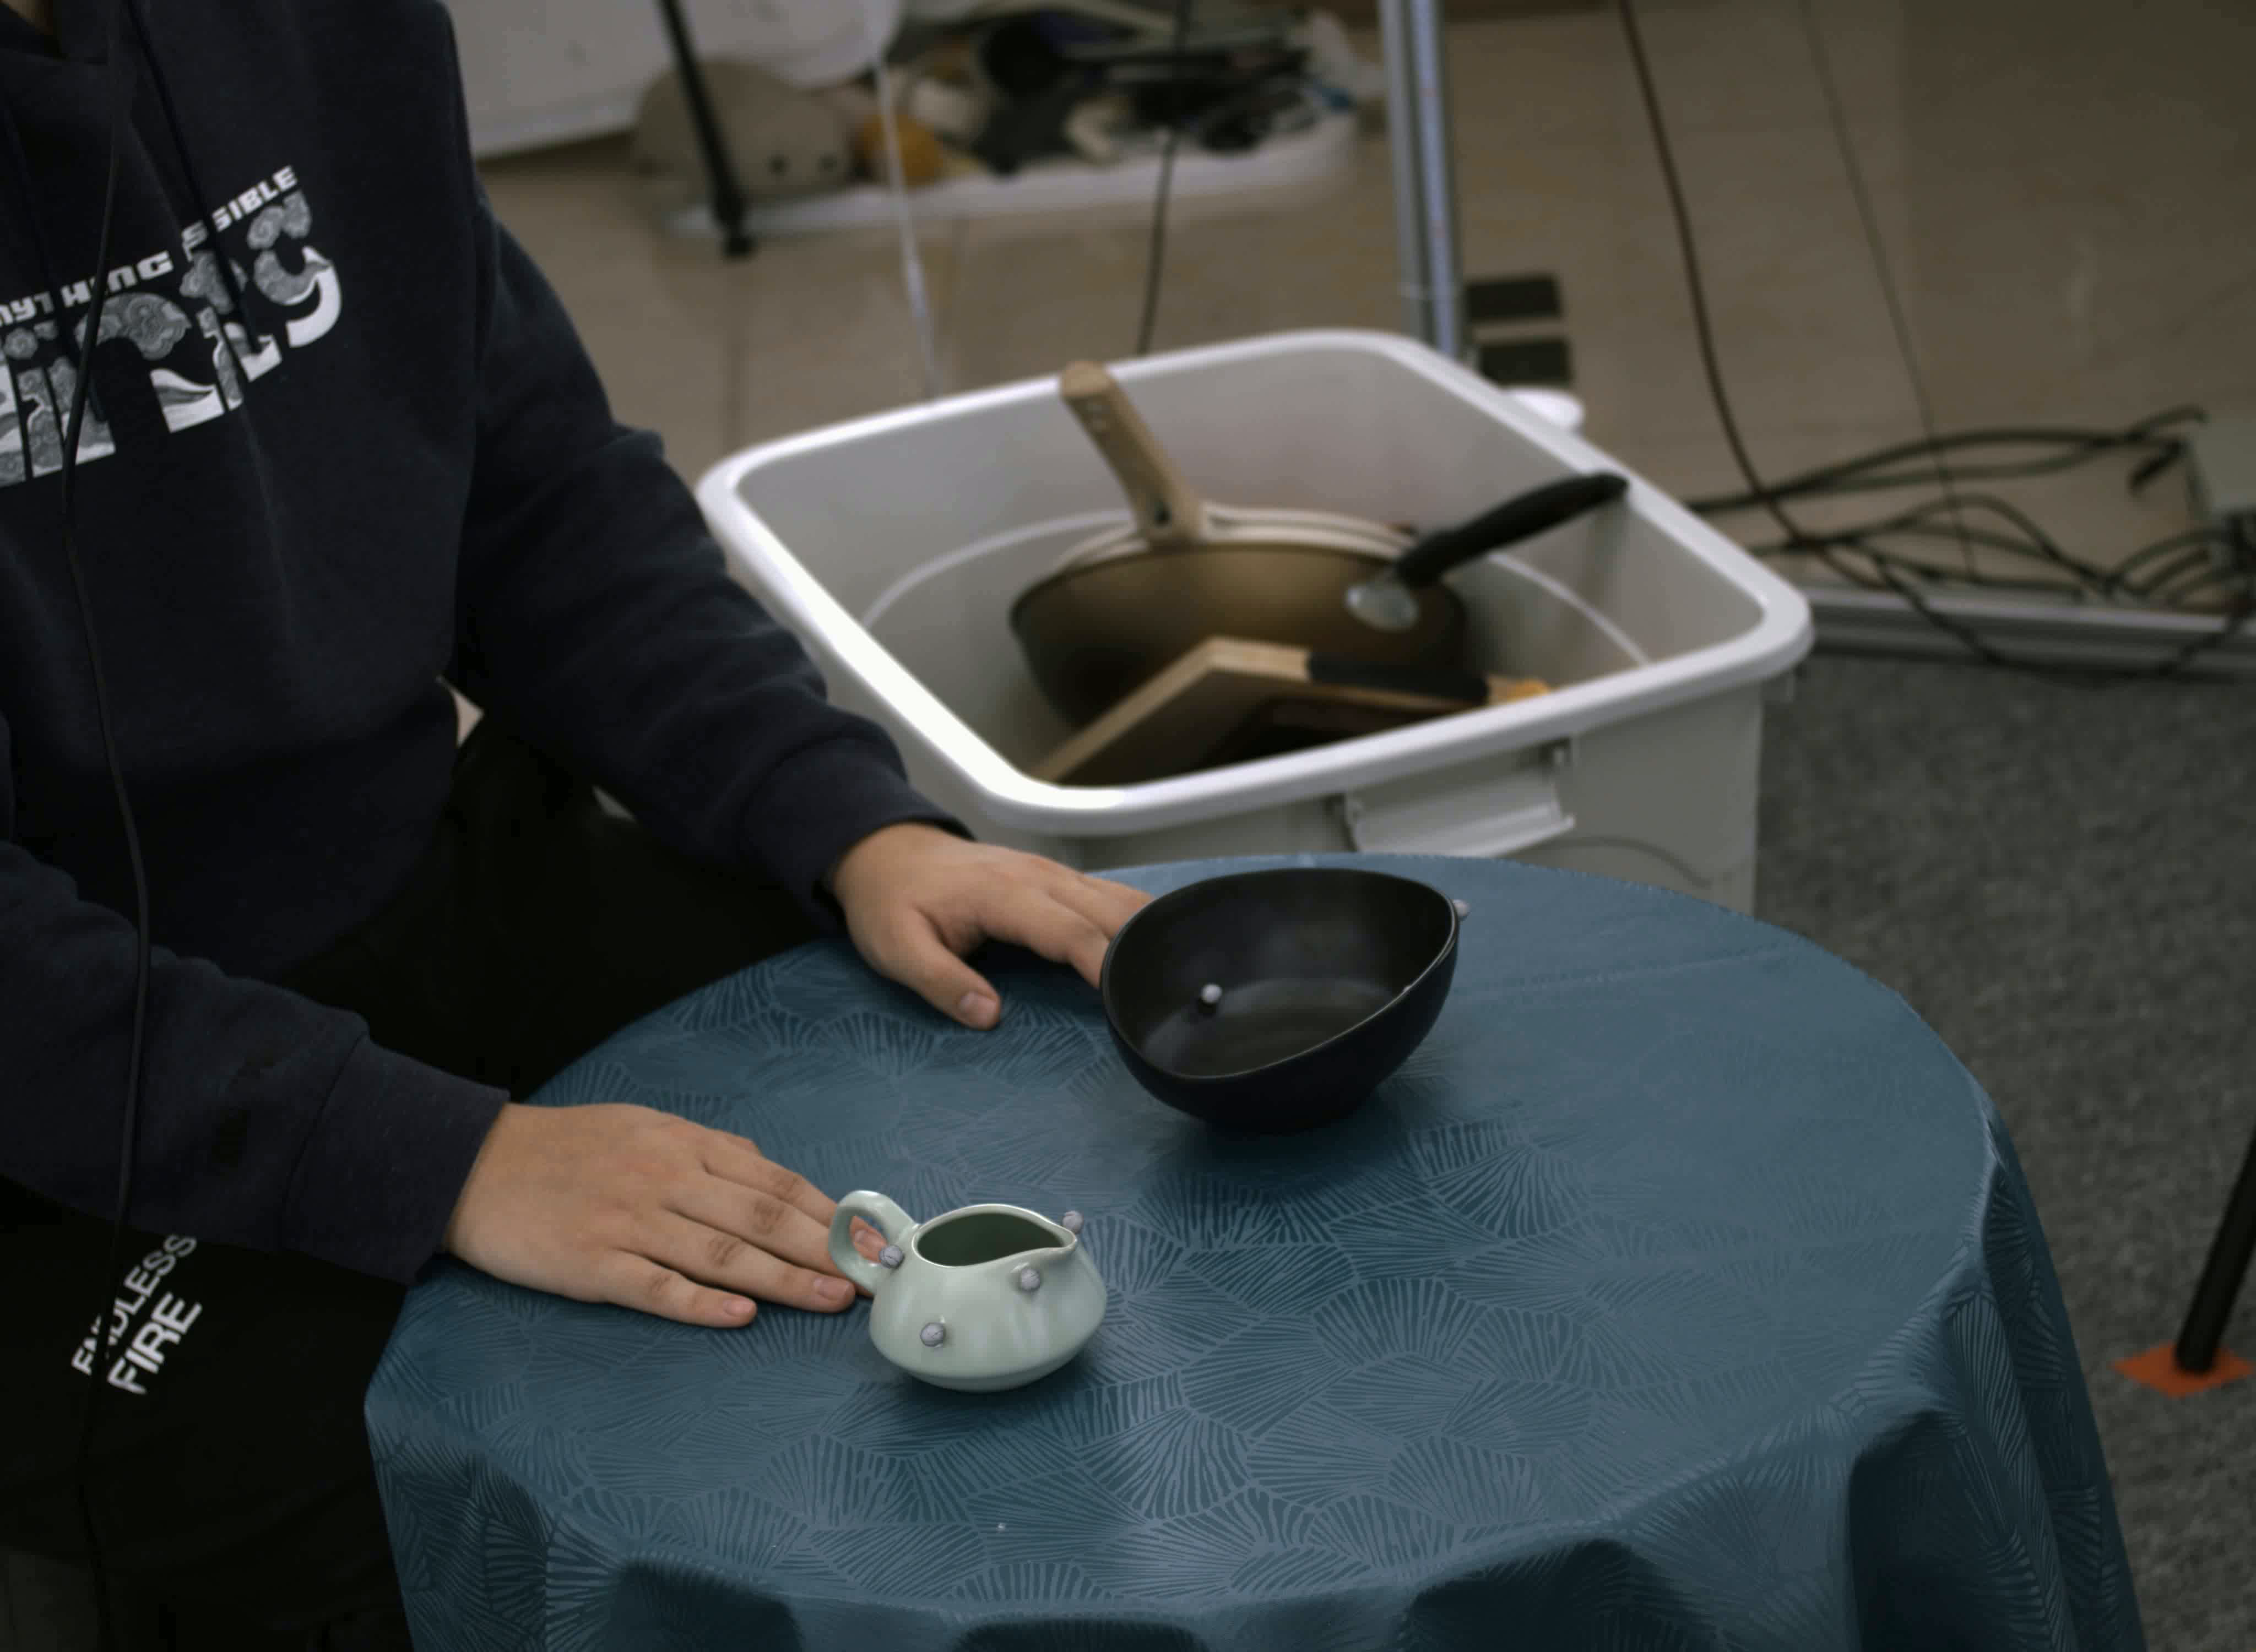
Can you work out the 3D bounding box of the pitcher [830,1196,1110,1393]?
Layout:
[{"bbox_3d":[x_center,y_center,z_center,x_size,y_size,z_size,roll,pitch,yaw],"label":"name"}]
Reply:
[{"bbox_3d":[-0.060,0.166,2.037,0.107,0.061,0.085,6,27,30],"label":"pitcher"}]

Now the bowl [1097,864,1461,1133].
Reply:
[{"bbox_3d":[0.061,0.075,2.198,0.137,0.068,0.168,3,27,22],"label":"bowl"}]
